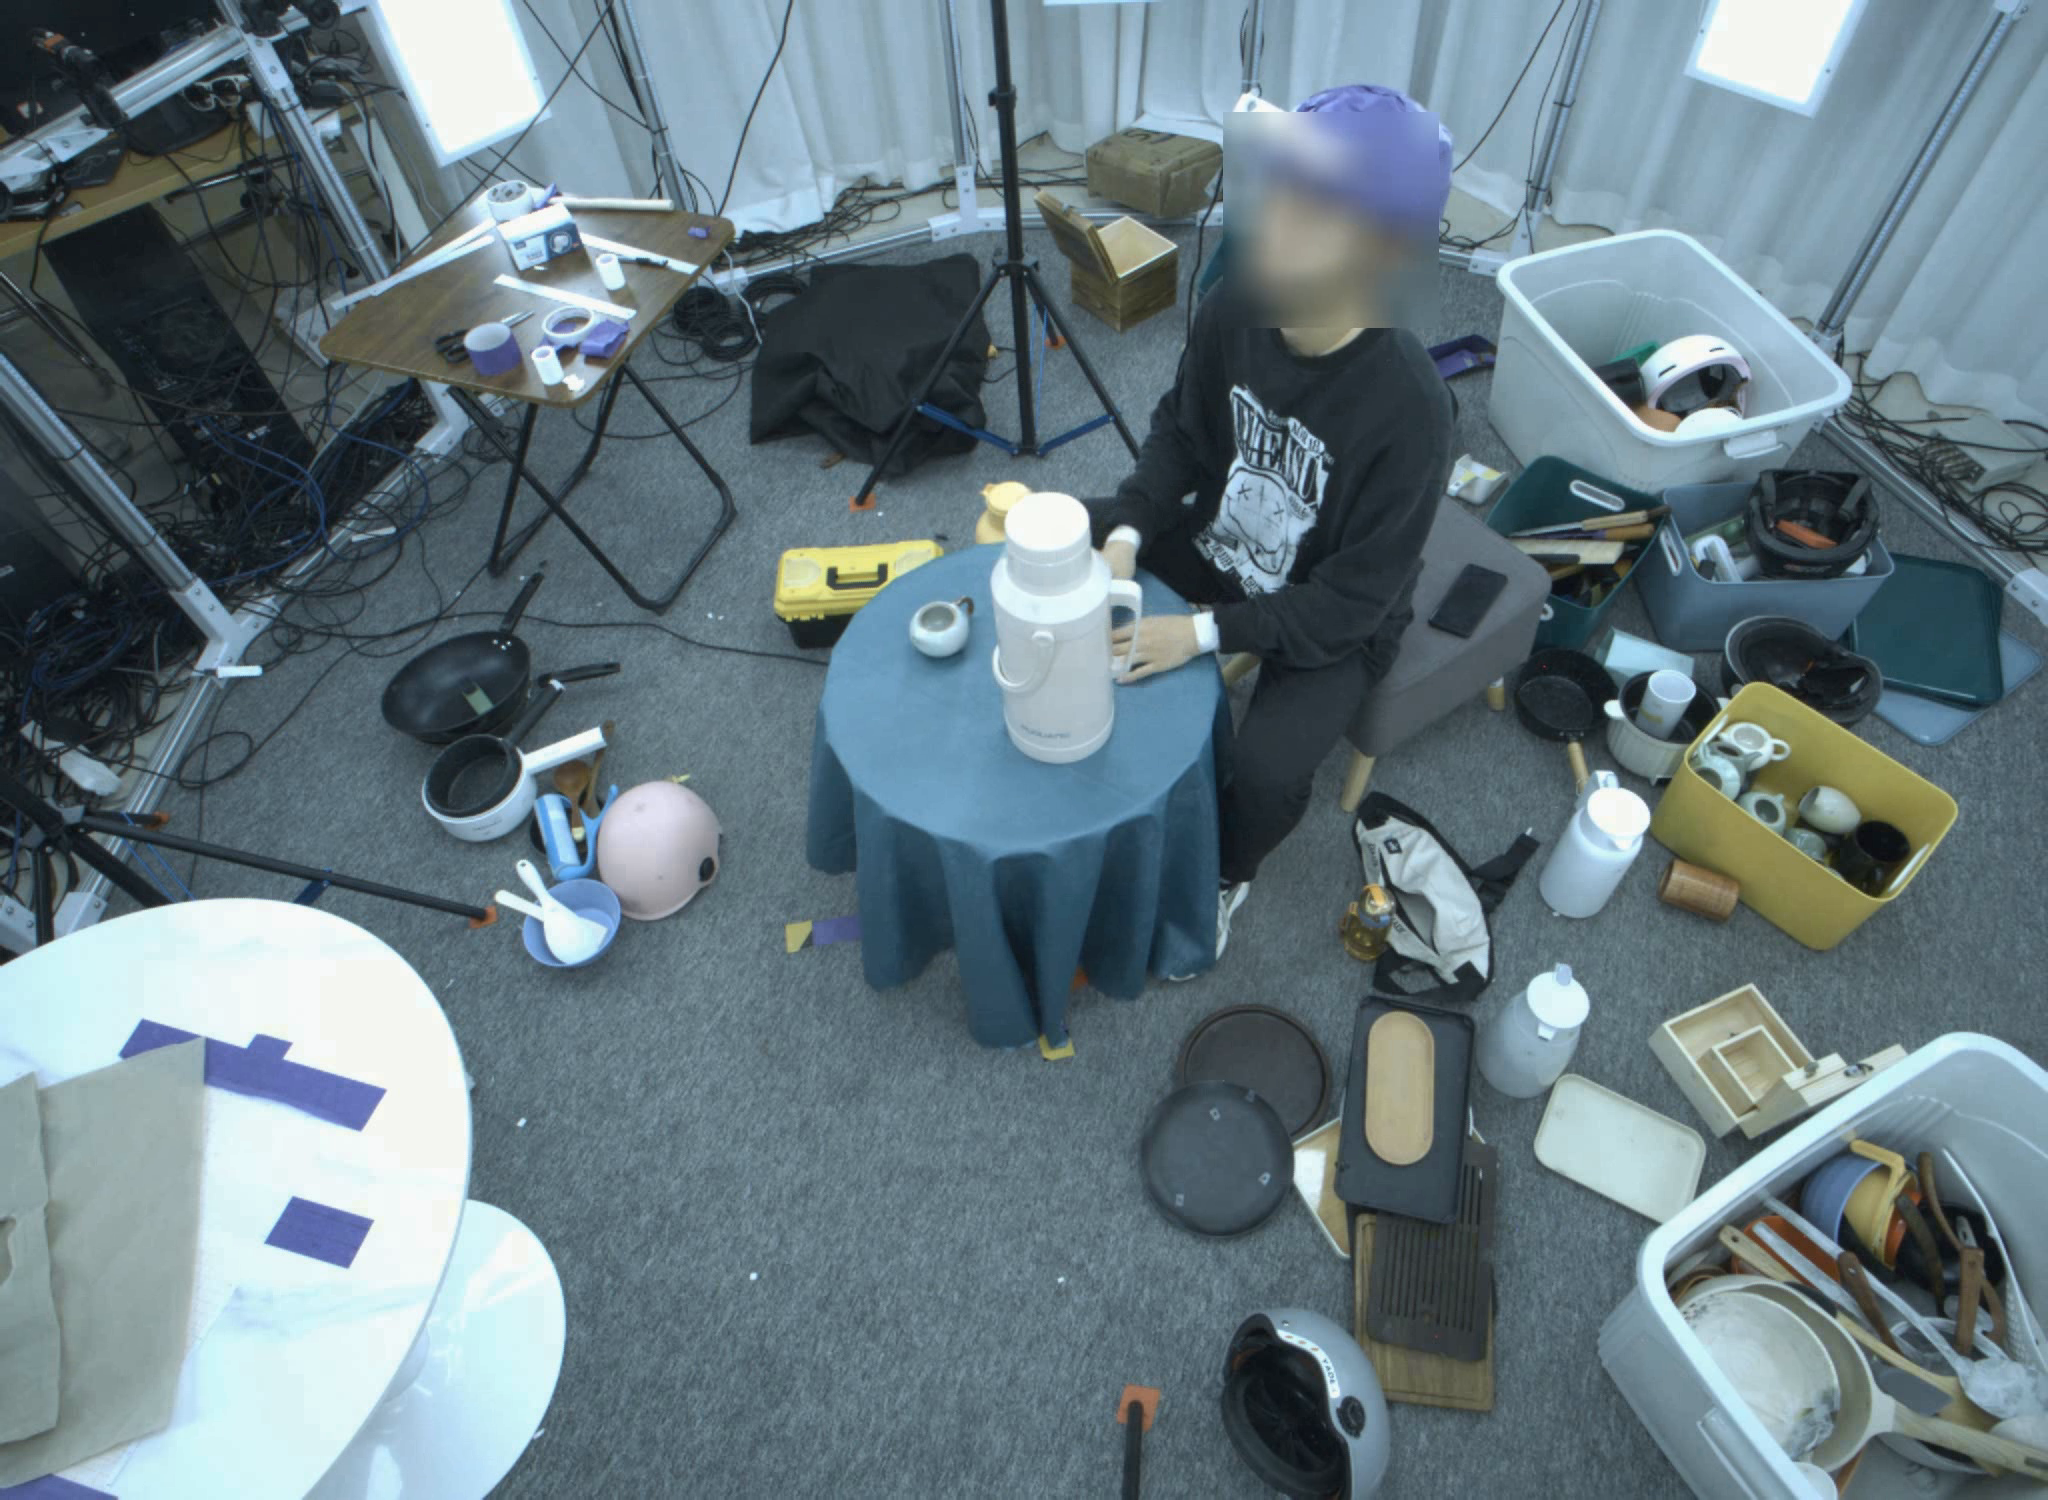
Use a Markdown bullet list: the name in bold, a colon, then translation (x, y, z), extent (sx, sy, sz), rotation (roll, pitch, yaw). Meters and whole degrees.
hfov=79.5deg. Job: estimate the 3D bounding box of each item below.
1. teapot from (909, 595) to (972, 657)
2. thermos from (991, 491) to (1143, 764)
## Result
- **teapot**: translation (-0.125, -0.191, 1.887), extent (0.090, 0.060, 0.129), rotation (31, 62, 28)
- **thermos**: translation (0.055, -0.158, 1.650), extent (0.206, 0.411, 0.174), rotation (3, 53, 7)
